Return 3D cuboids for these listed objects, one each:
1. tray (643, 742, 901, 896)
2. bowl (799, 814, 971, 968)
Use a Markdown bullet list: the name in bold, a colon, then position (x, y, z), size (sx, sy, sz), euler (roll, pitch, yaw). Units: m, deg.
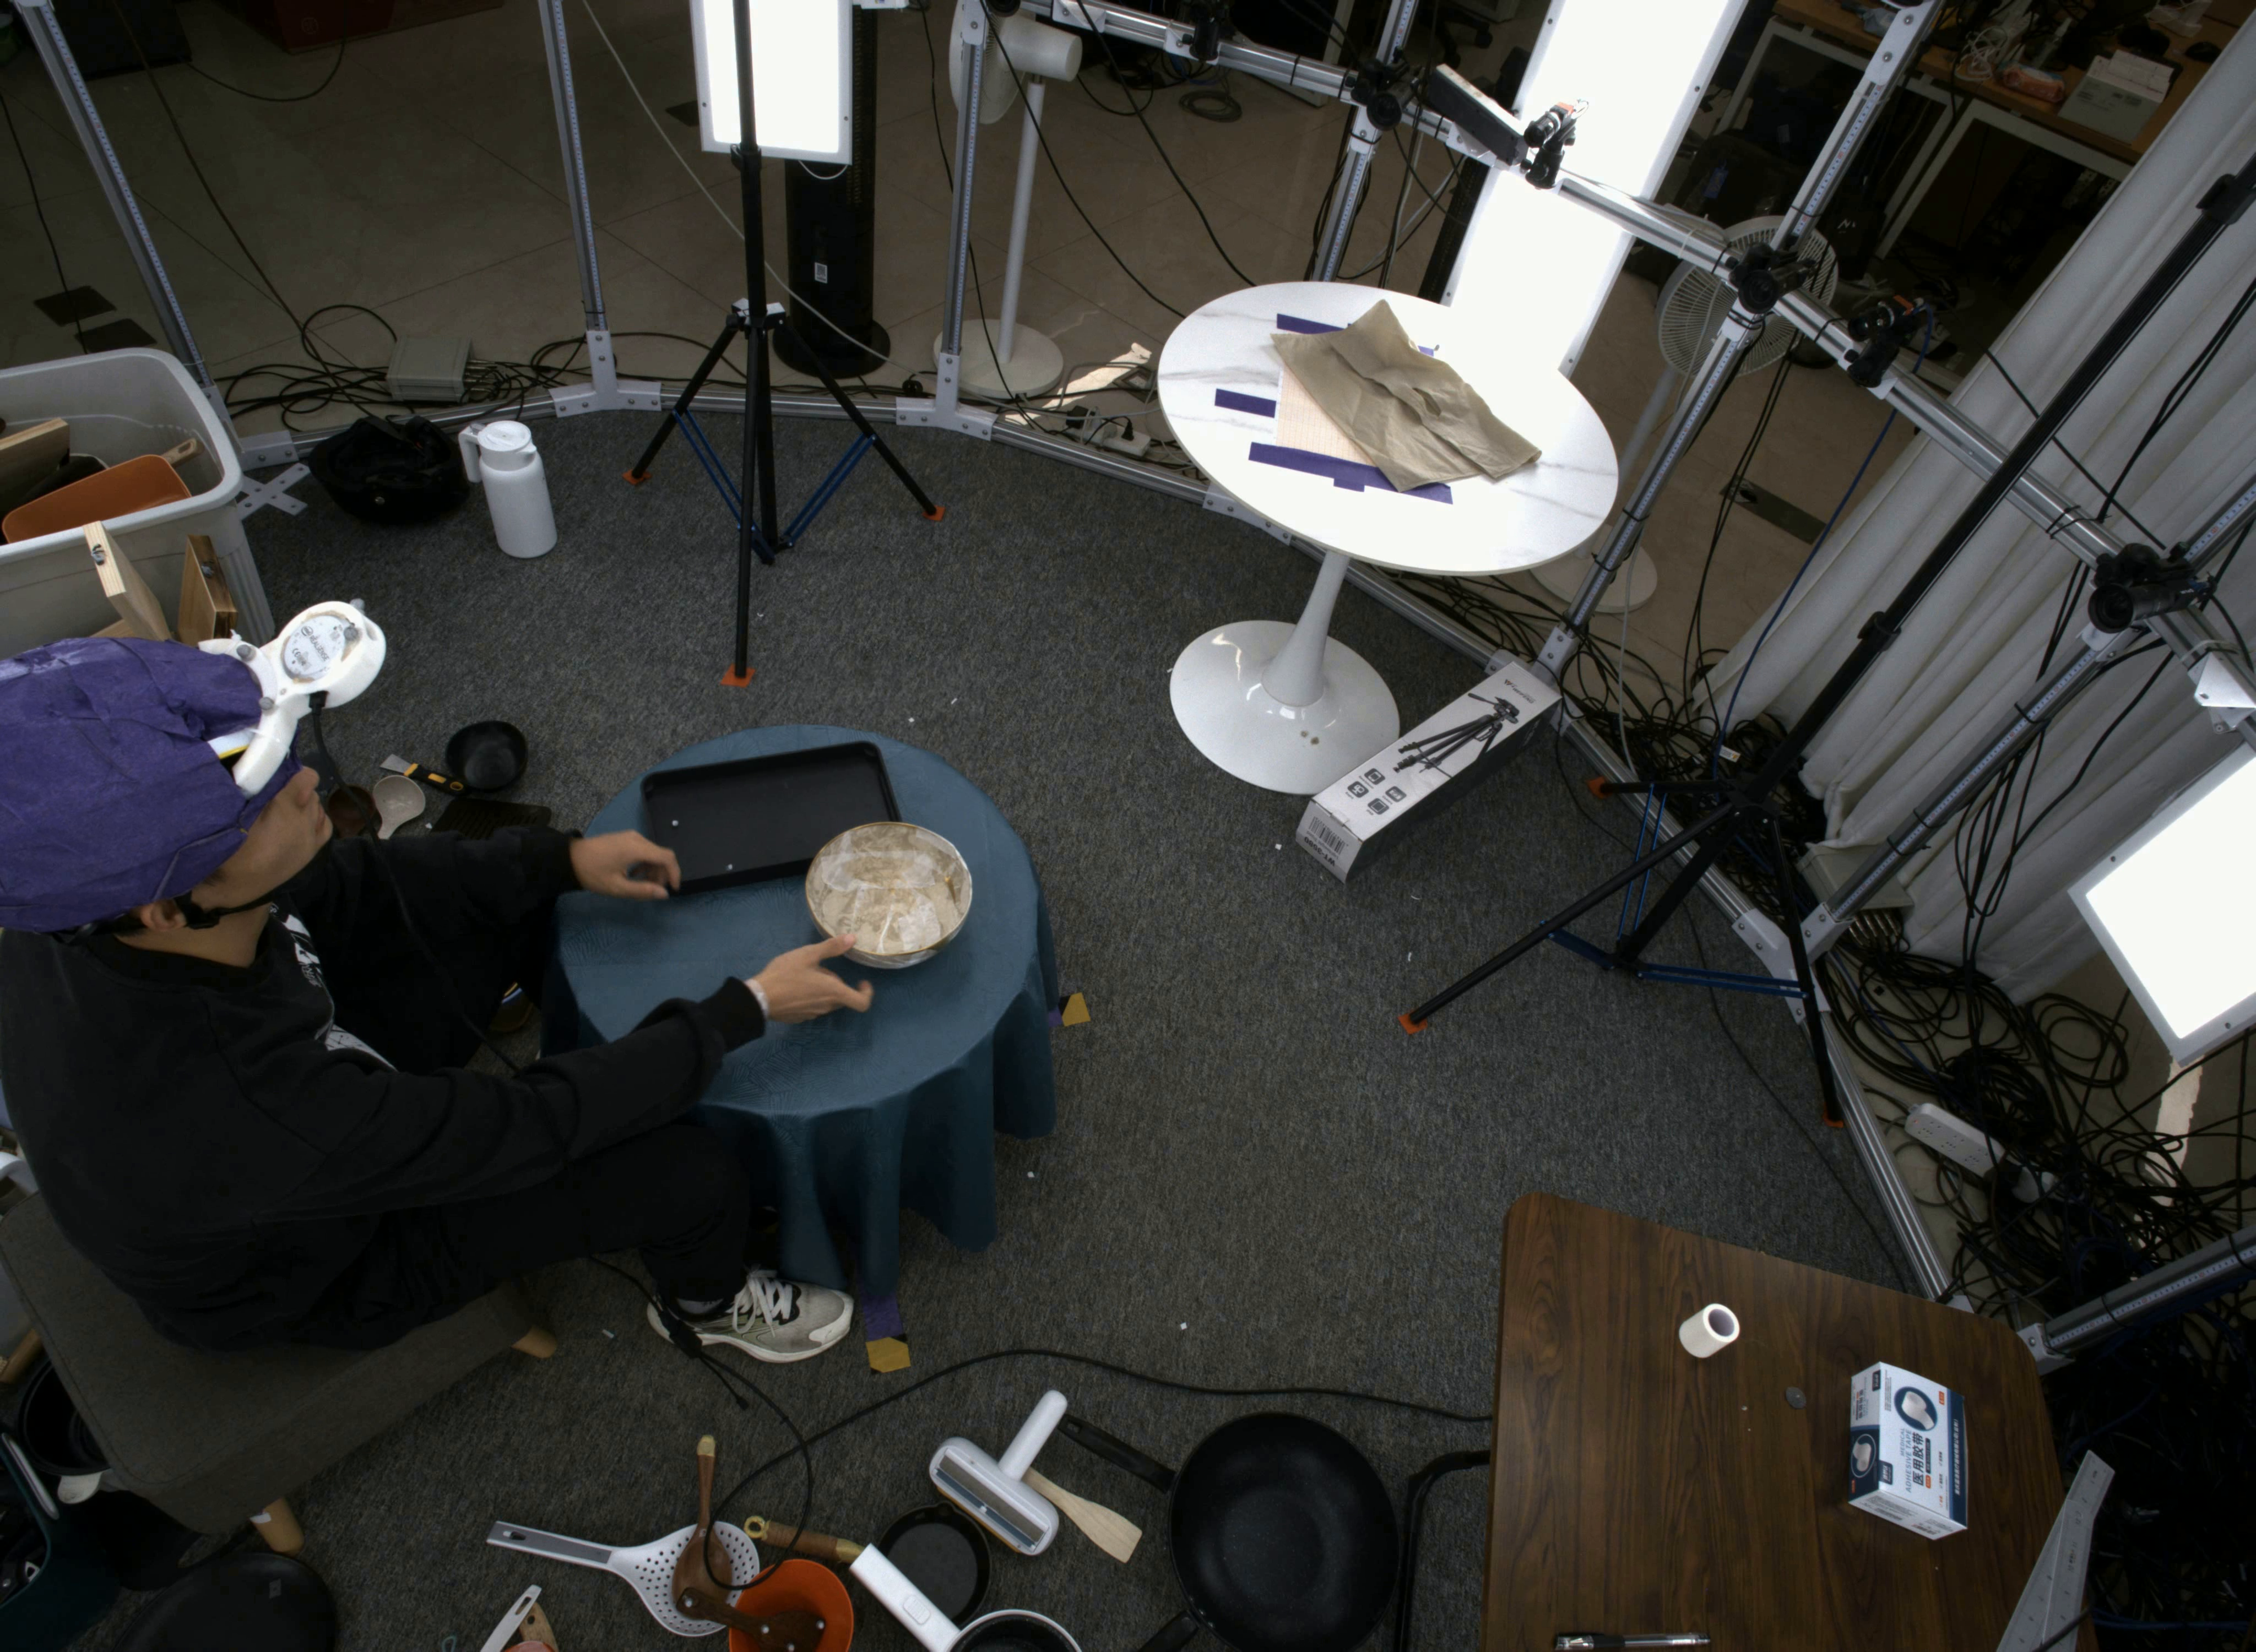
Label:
- **tray**: position (-0.467, -0.014, 1.706), size (0.319, 0.038, 0.180), euler (-9, 56, -21)
- **bowl**: position (-0.304, 0.097, 1.628), size (0.214, 0.096, 0.211), euler (8, 53, -9)
